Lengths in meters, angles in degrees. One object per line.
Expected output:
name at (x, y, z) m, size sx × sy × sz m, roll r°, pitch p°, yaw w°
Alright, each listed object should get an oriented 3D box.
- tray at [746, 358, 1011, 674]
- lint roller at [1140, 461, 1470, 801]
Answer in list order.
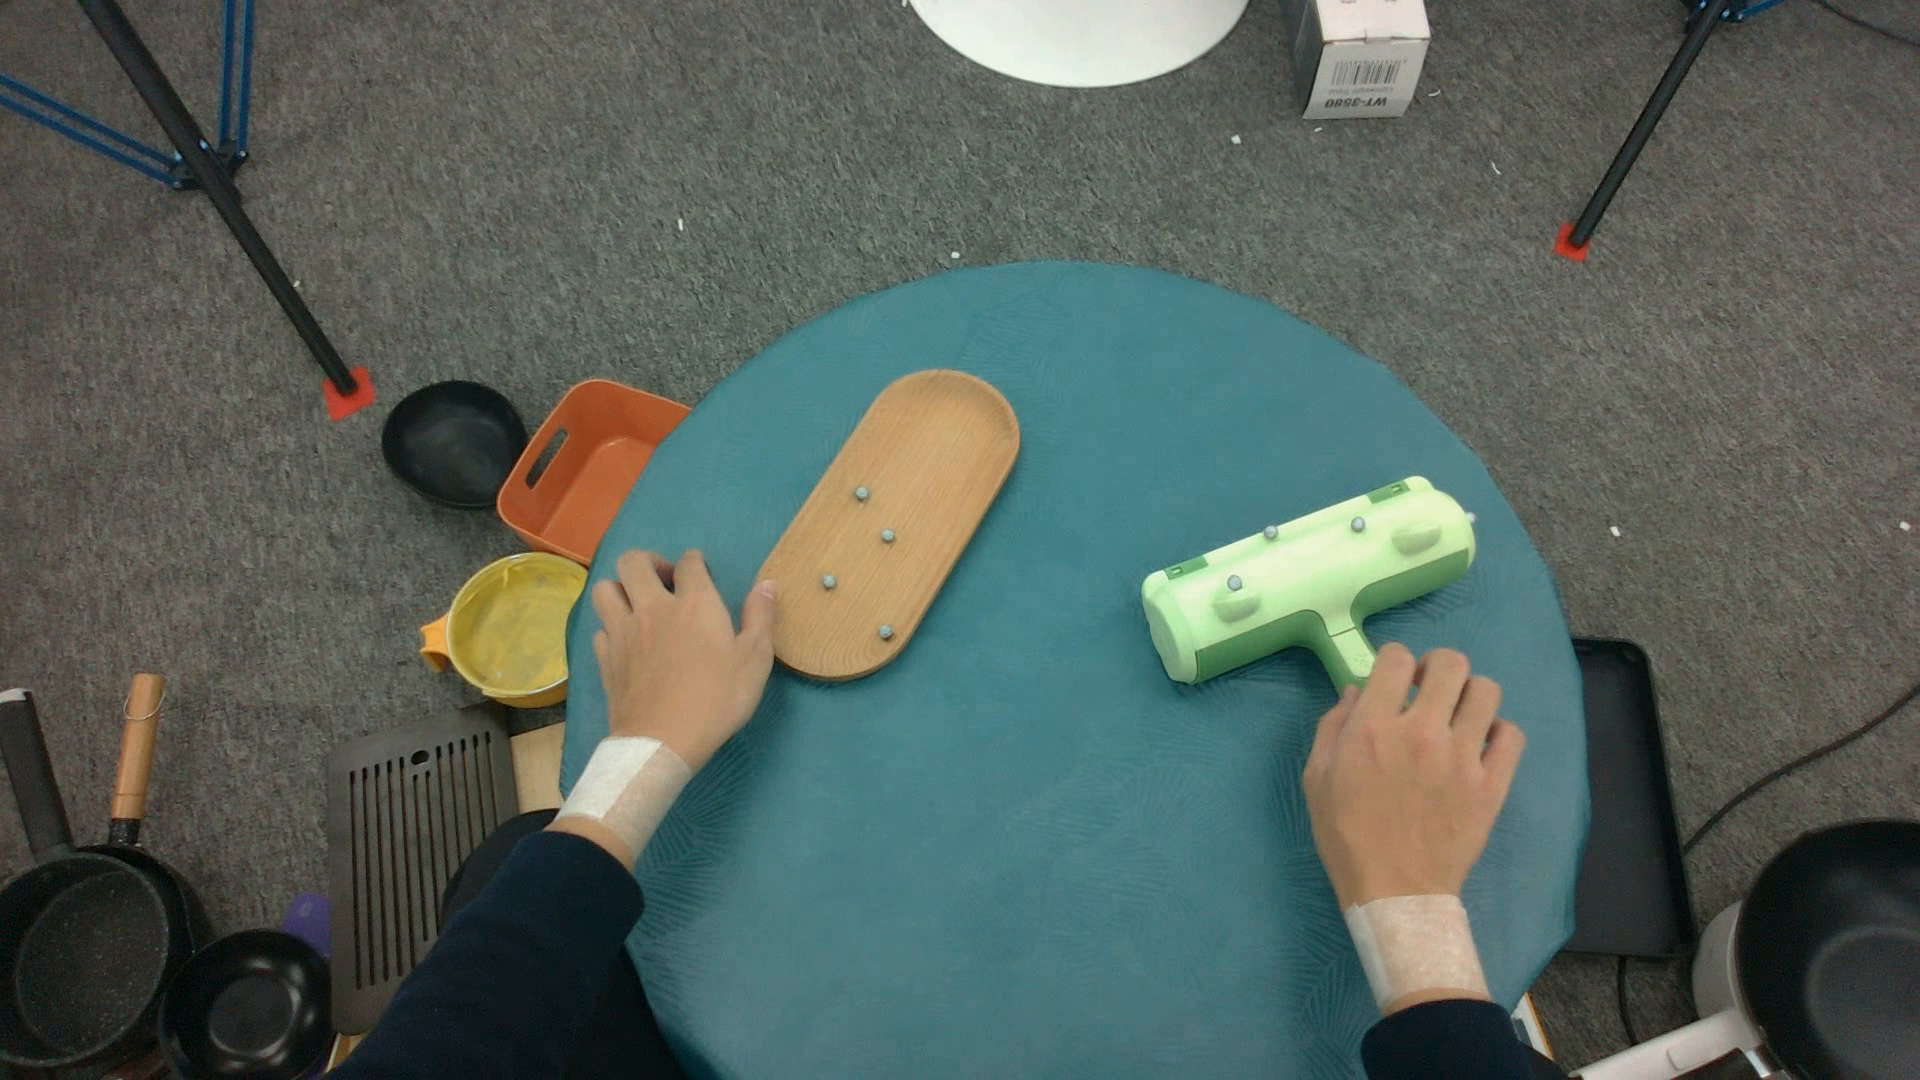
tray at (-0.047, -0.019, 0.847) m, size 0.101 × 0.020 × 0.232 m, roll 24°, pitch 63°, yaw 10°
lint roller at (0.227, 0.056, 0.776) m, size 0.199 × 0.082 × 0.184 m, roll -22°, pitch 60°, yaw -12°
